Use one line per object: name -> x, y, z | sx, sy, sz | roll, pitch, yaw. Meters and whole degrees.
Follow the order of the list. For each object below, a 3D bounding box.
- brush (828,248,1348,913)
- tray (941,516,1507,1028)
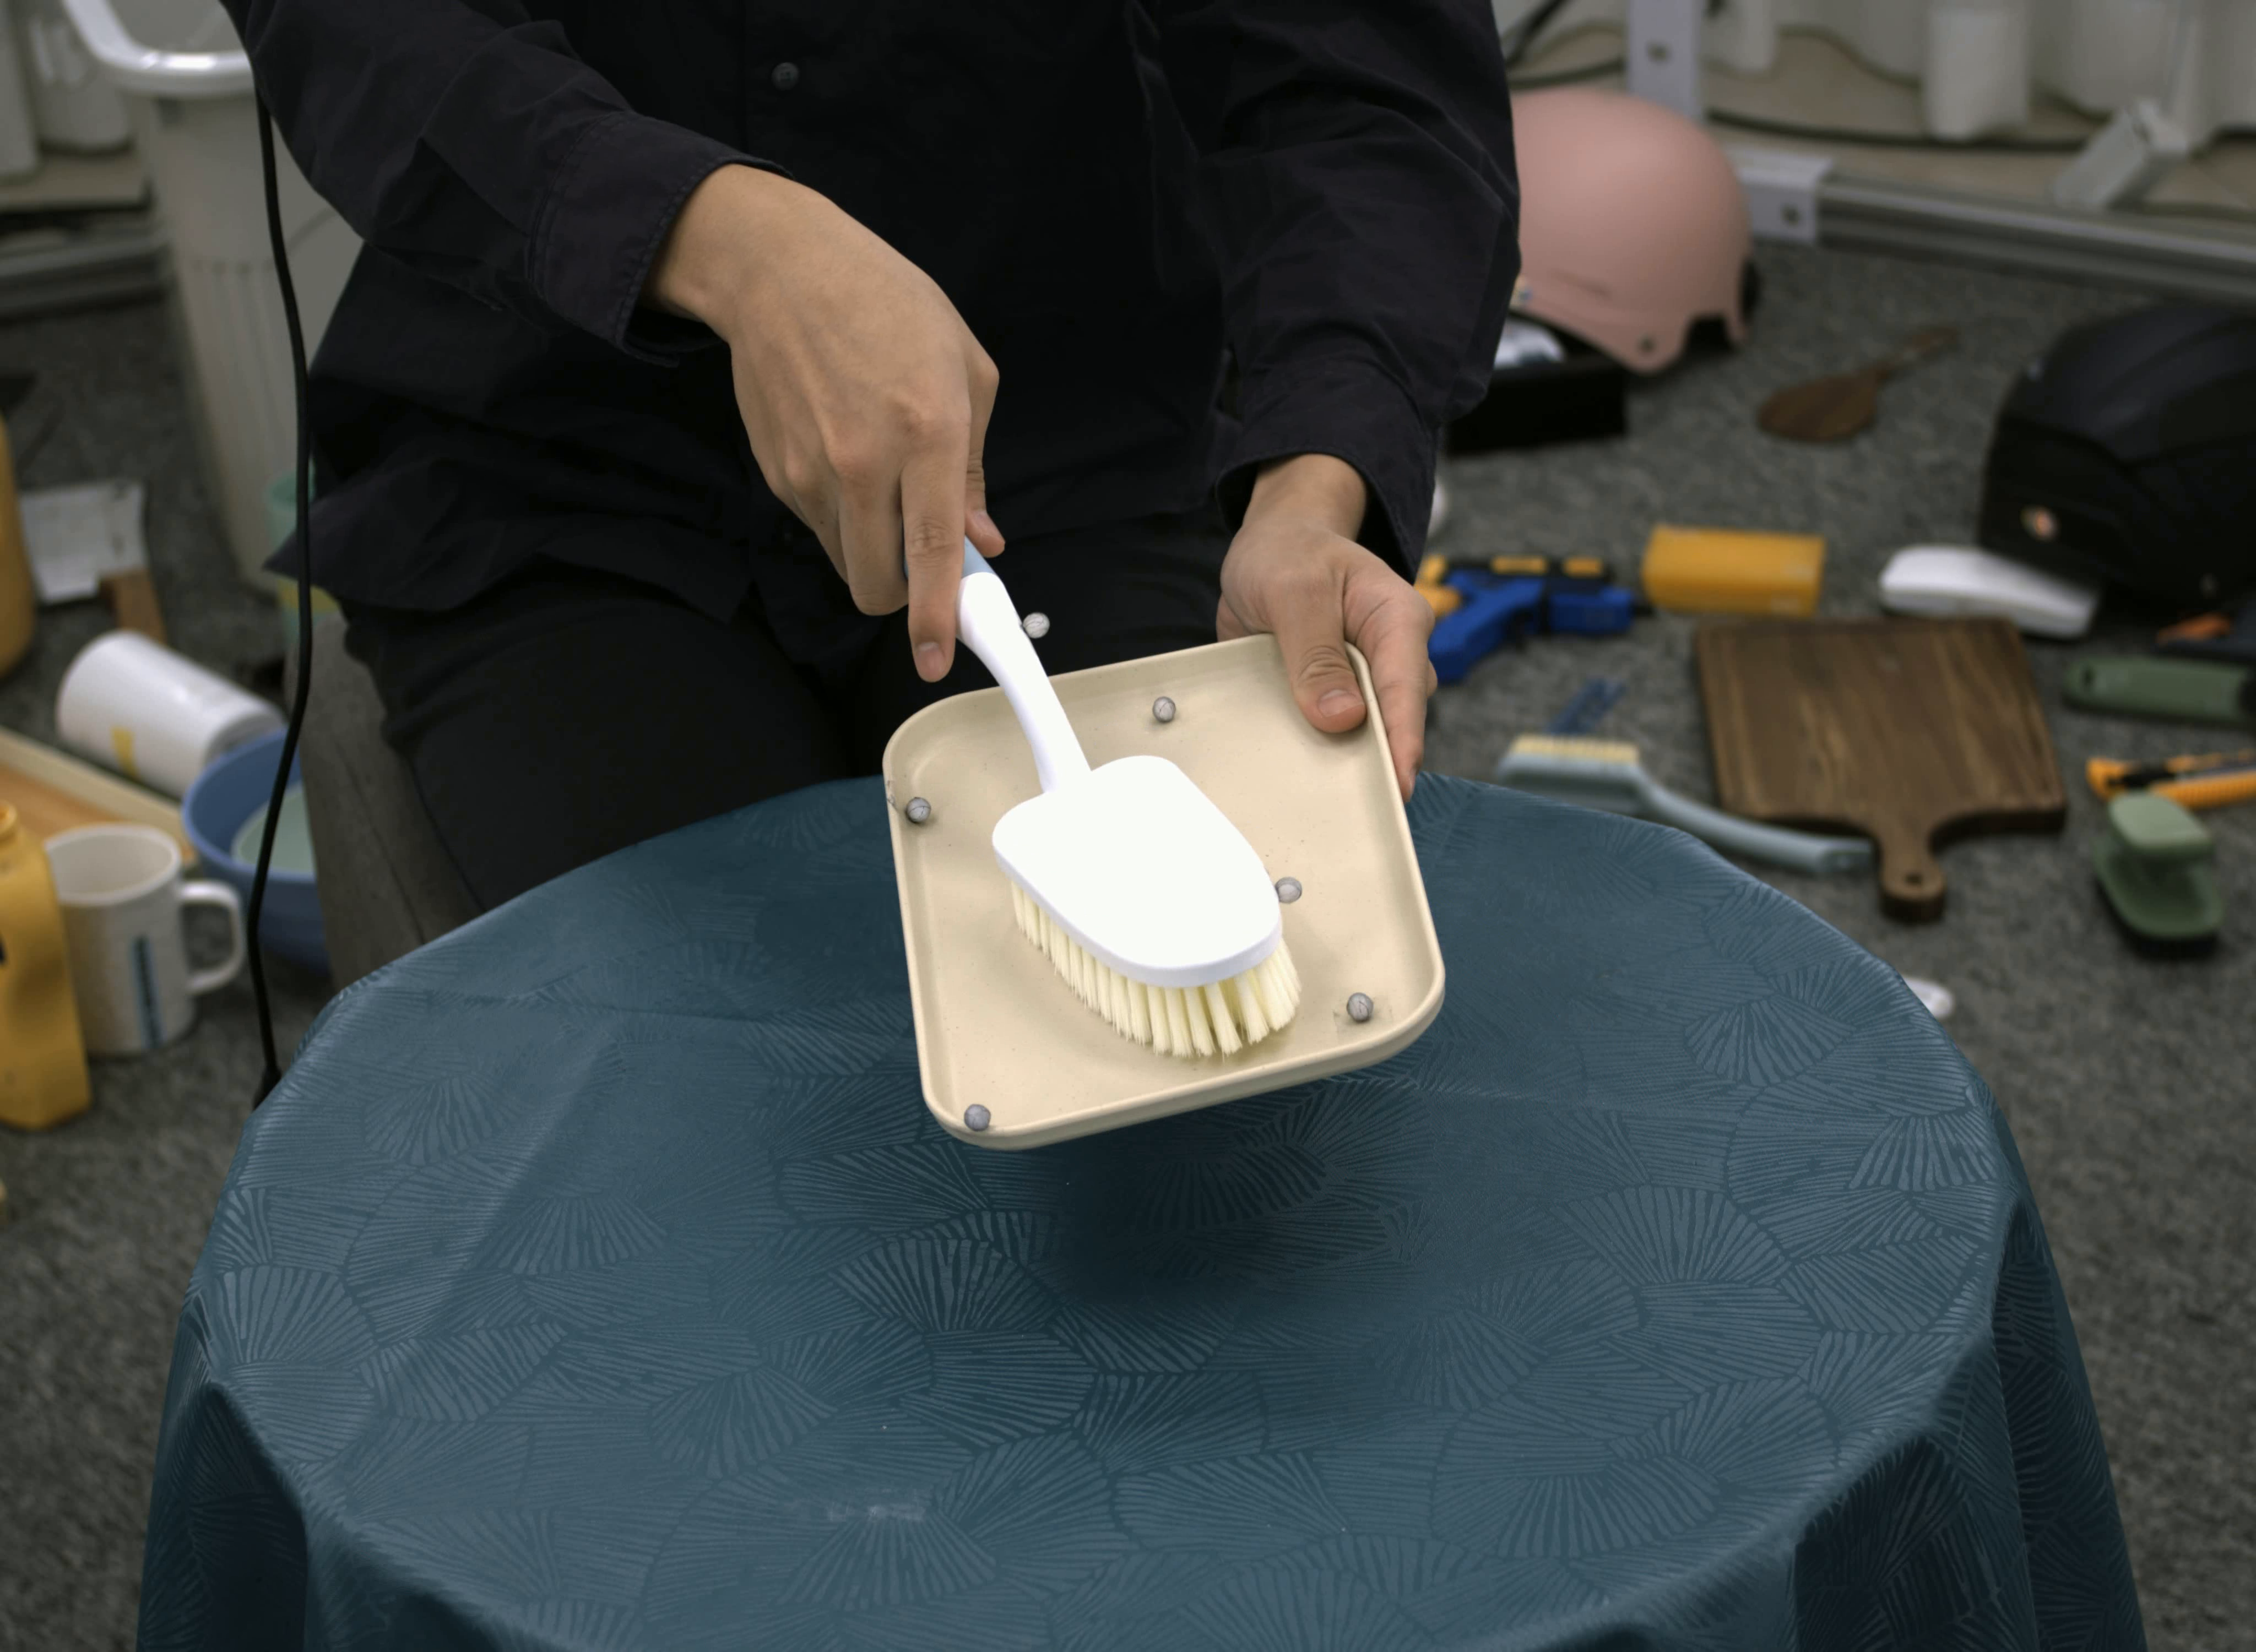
brush -> -0.015, -0.076, 1.890 | 0.083, 0.083, 0.329 | 8, 33, -41
tray -> 0.029, -0.019, 1.858 | 0.170, 0.017, 0.243 | -12, 36, 1
